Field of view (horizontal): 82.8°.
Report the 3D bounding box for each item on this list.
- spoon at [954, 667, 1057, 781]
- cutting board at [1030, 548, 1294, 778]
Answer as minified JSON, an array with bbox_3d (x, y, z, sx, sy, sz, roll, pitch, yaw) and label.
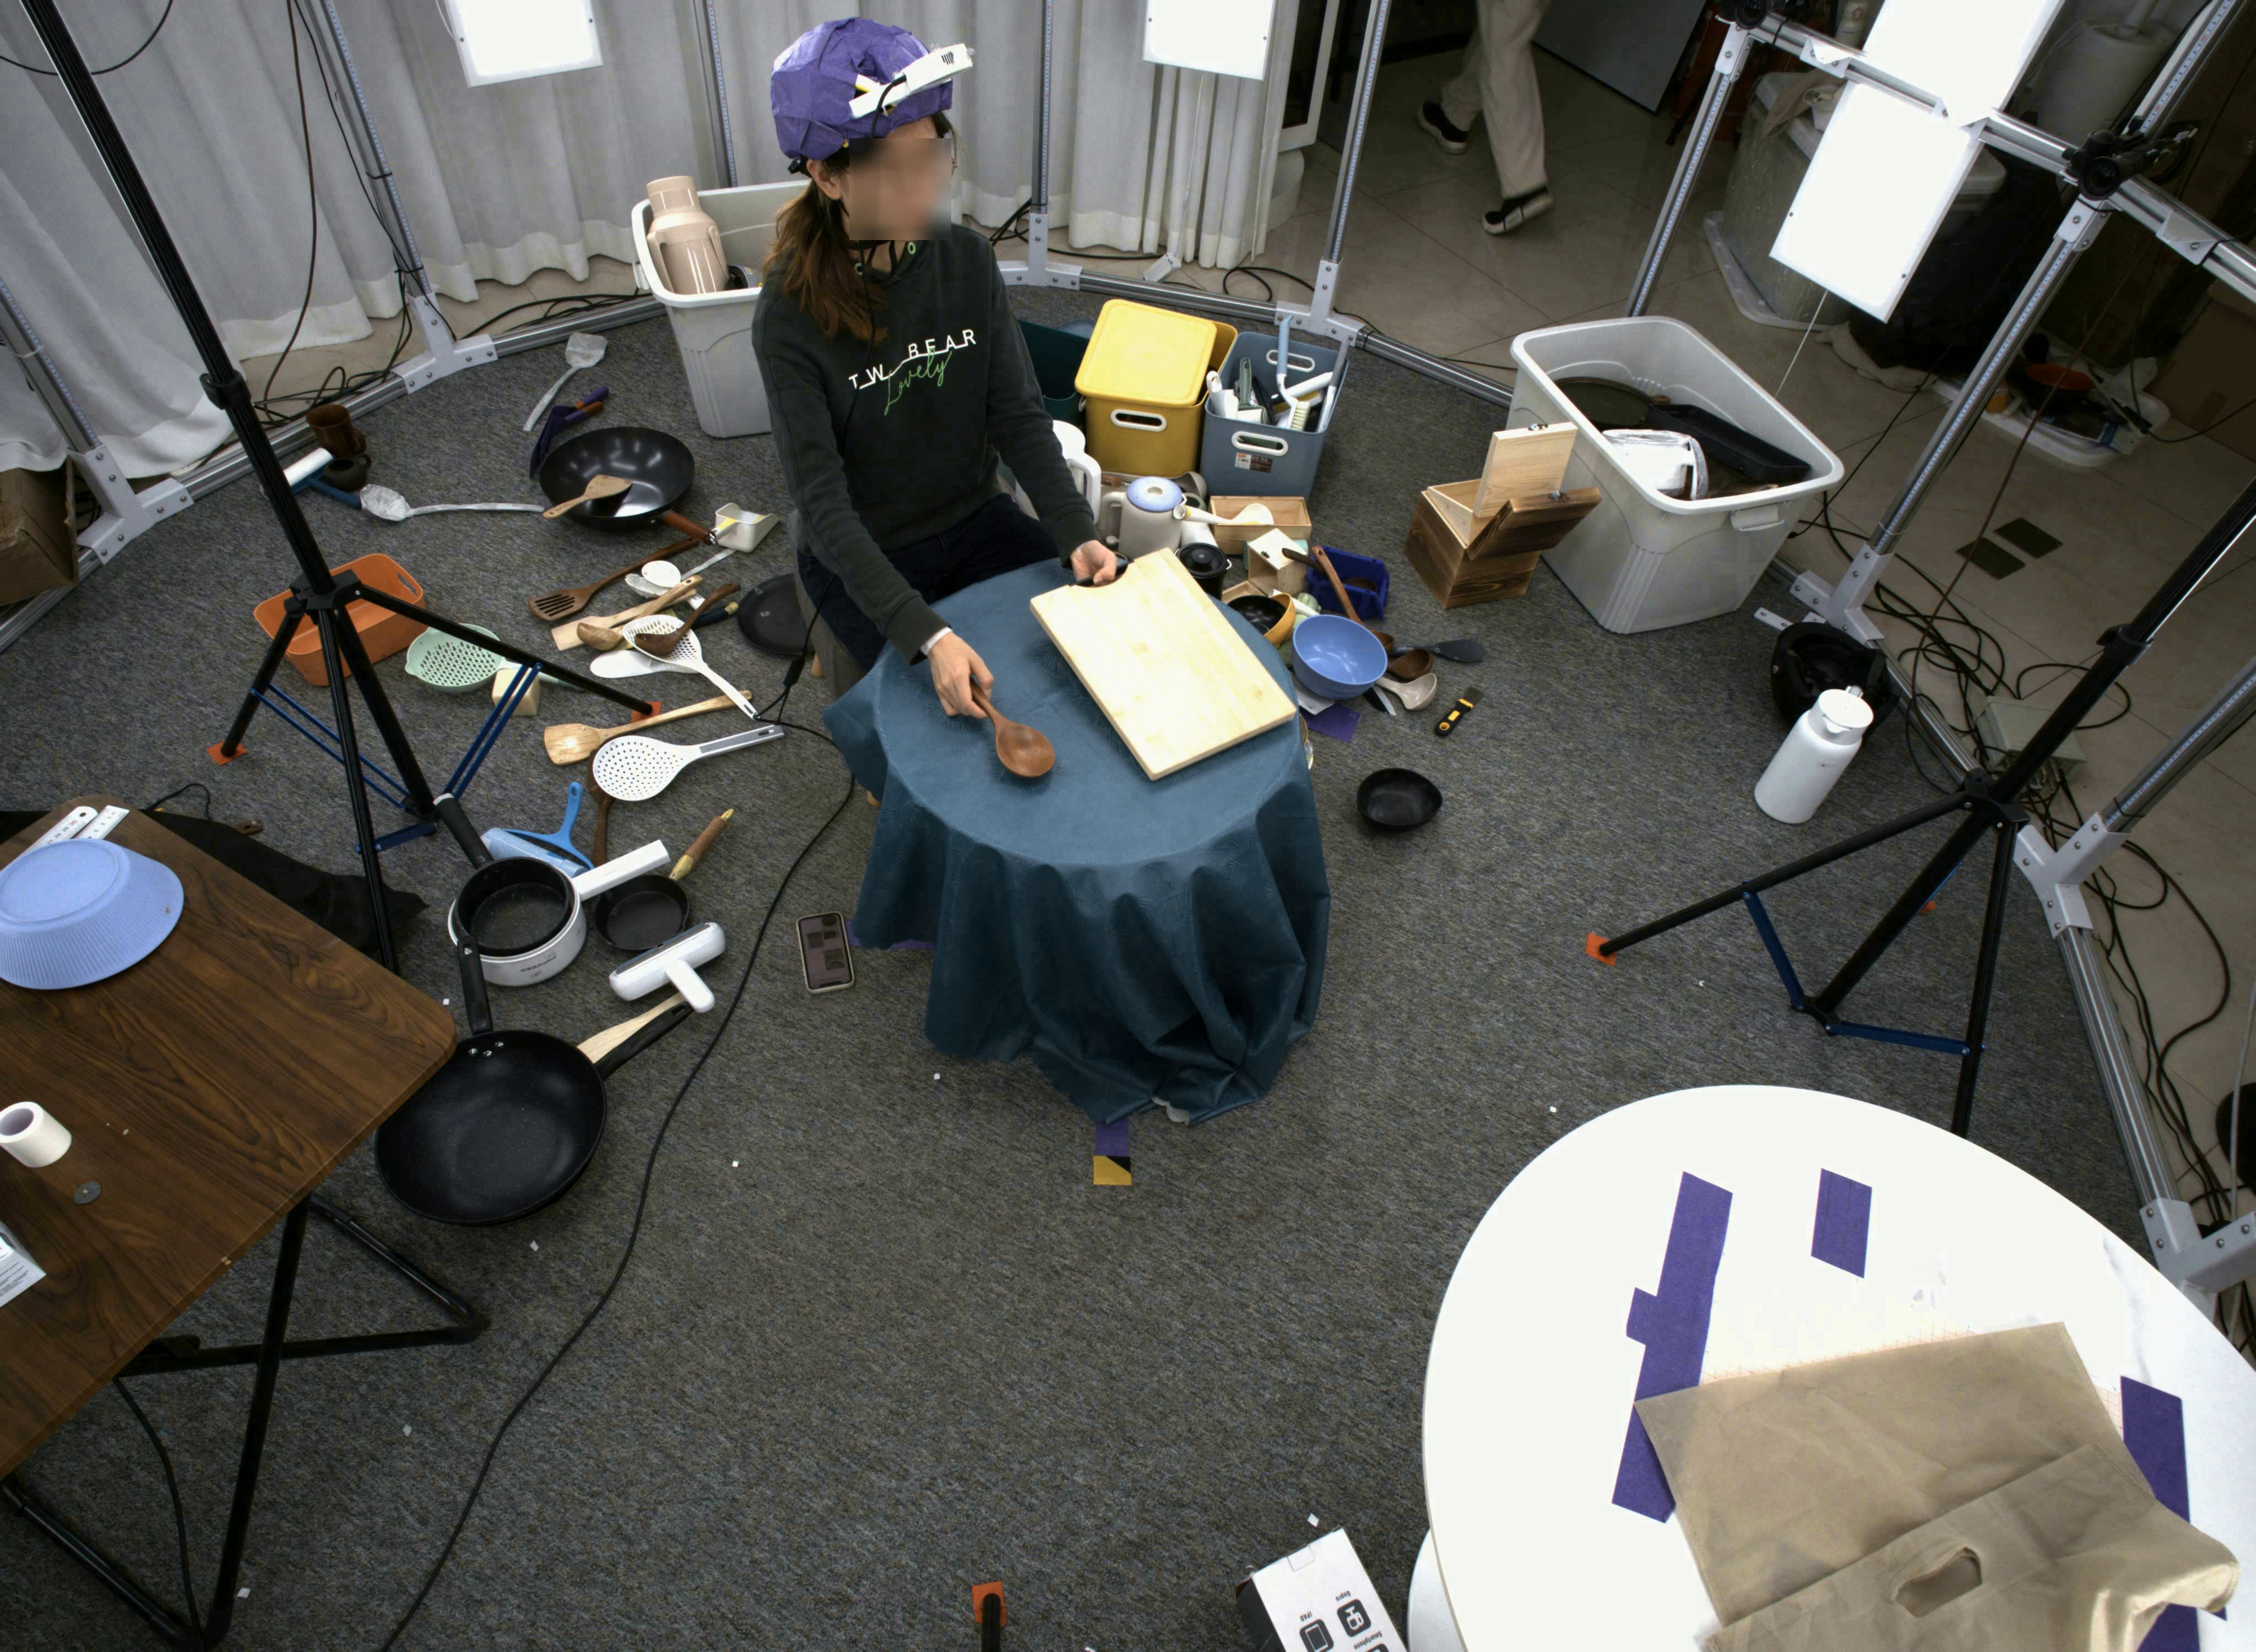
[{"bbox_3d":[-0.174,-0.141,1.758,0.076,0.017,0.219,-28,65,-23],"label":"spoon"},{"bbox_3d":[0.045,-0.241,1.845,0.251,0.023,0.355,-24,63,-23],"label":"cutting board"}]
